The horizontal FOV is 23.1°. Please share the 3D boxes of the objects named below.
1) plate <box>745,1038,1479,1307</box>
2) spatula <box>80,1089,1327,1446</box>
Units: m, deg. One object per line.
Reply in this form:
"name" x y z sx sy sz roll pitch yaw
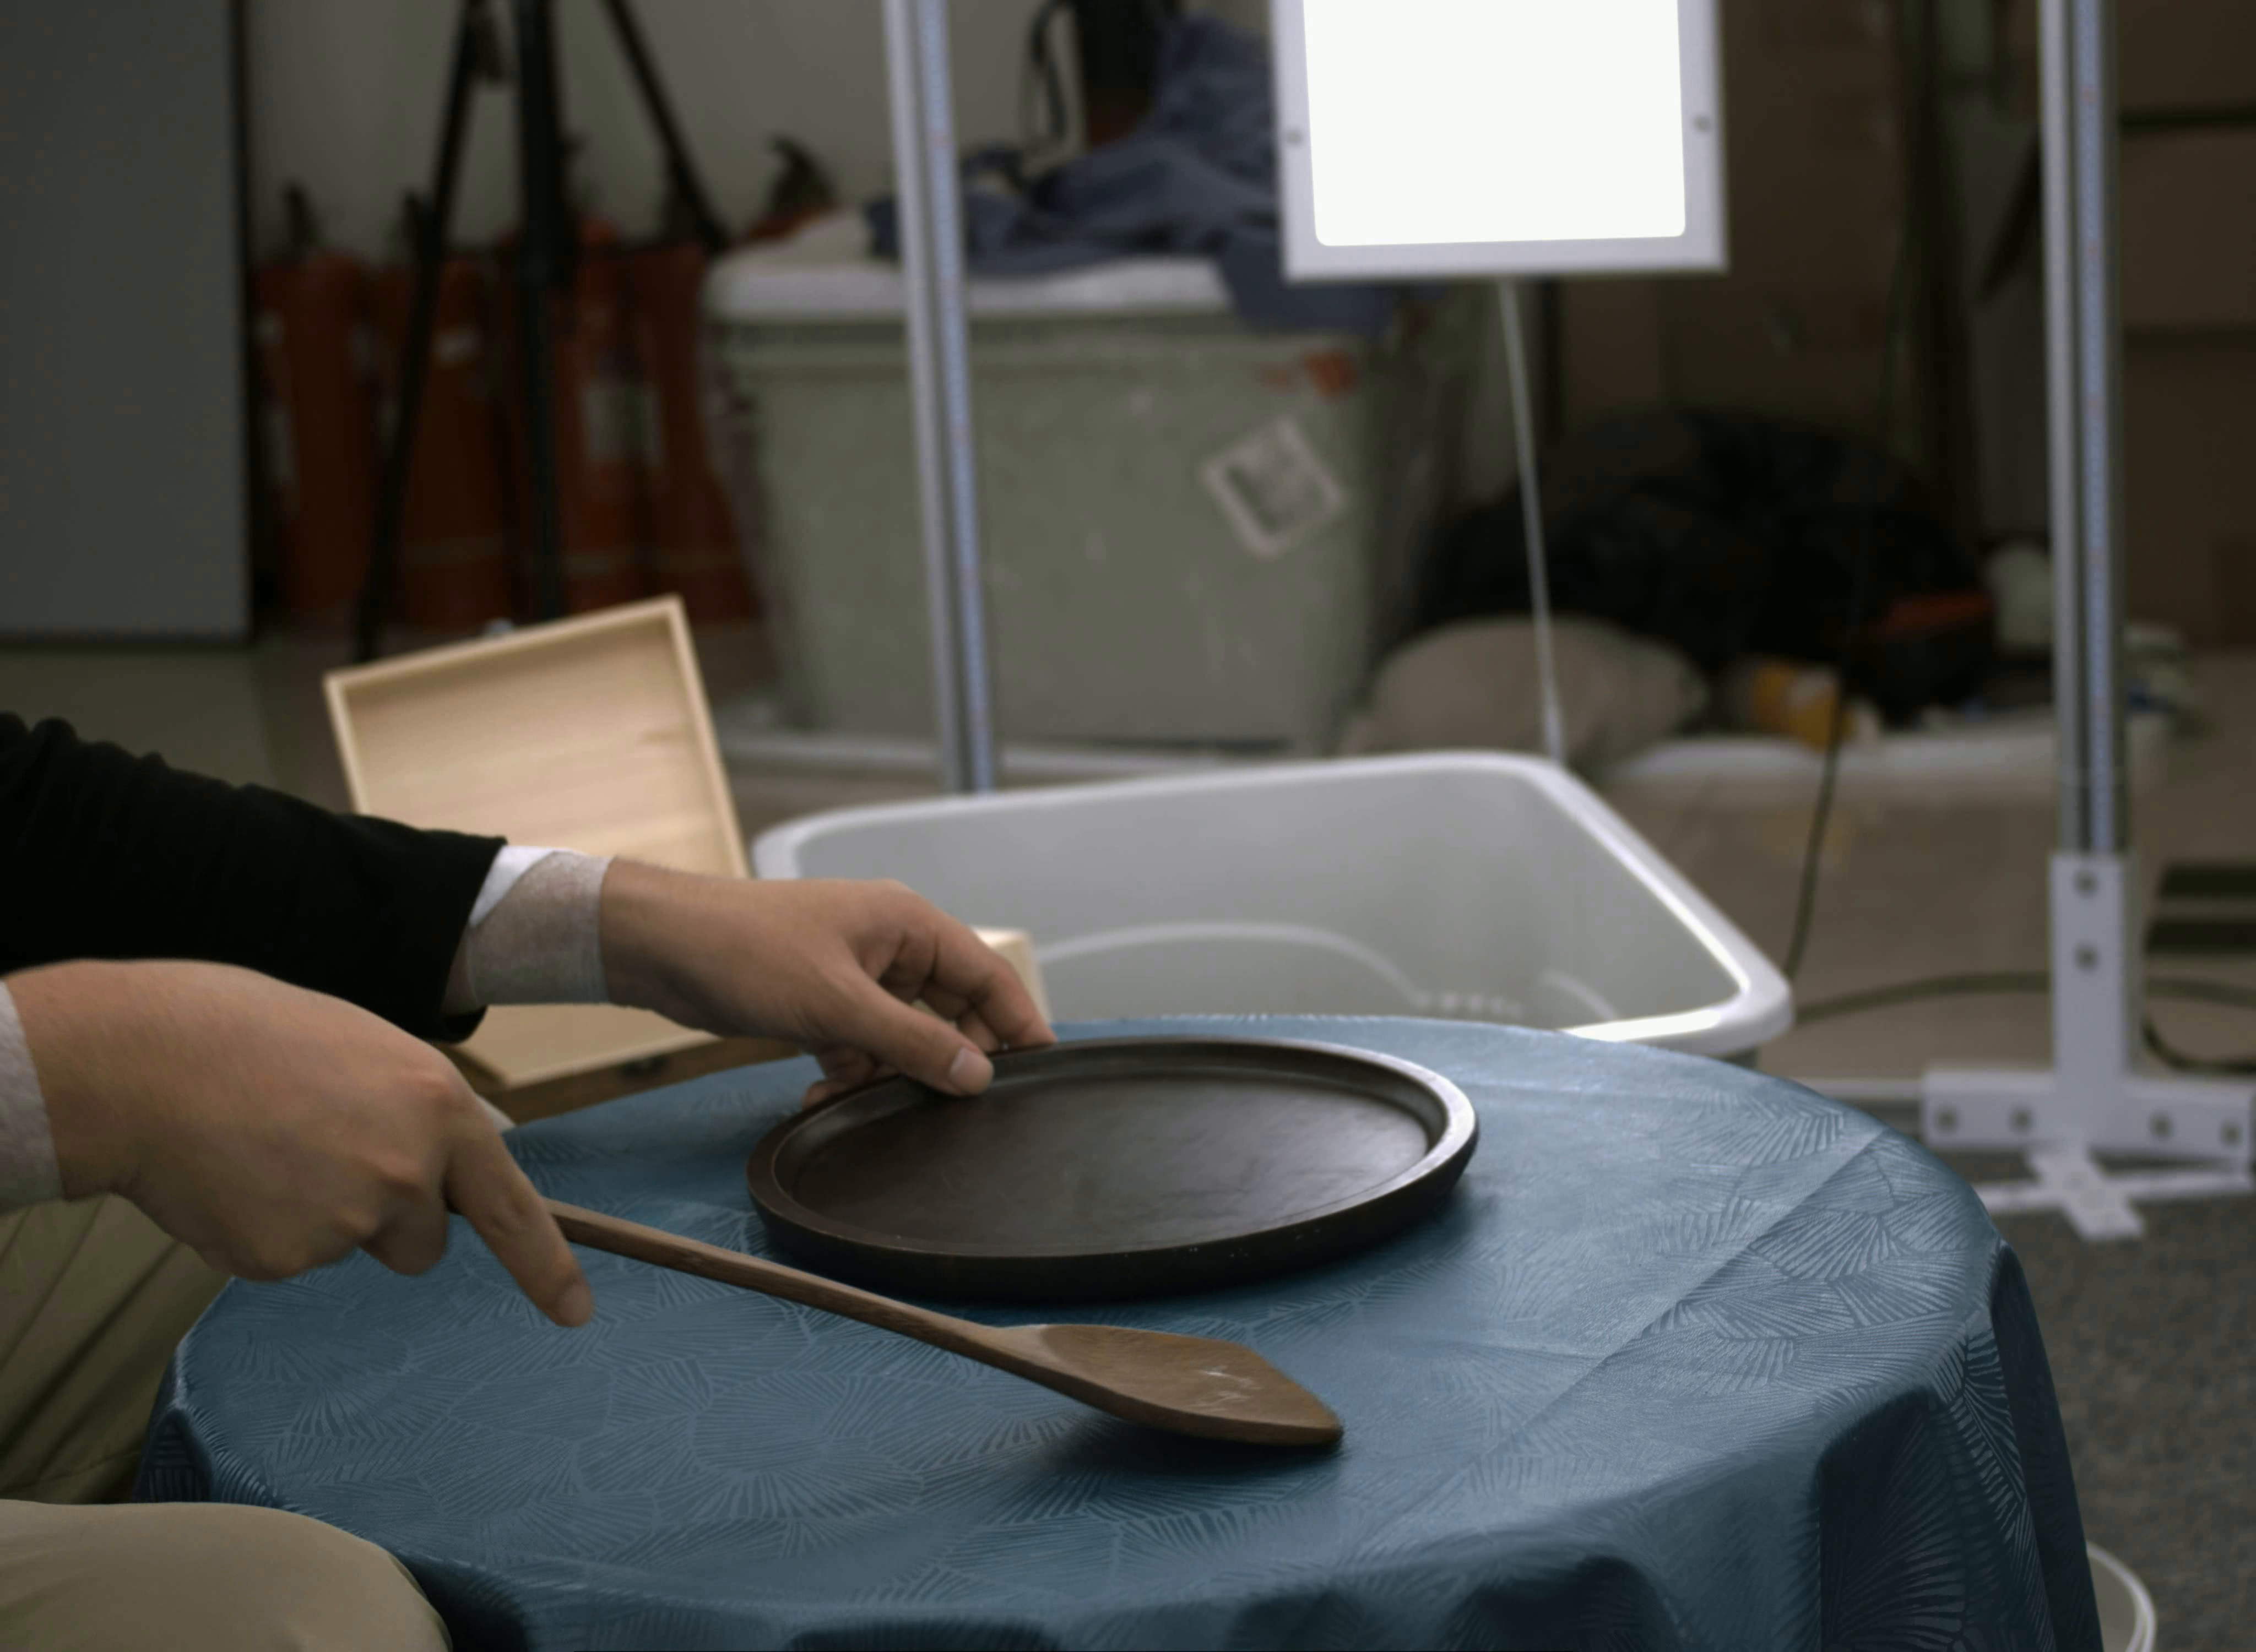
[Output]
"plate" -0.005 0.116 1.892 0.254 0.029 0.254 -5 15 0
"spatula" -0.119 0.128 1.611 0.380 0.016 0.097 17 6 -18
